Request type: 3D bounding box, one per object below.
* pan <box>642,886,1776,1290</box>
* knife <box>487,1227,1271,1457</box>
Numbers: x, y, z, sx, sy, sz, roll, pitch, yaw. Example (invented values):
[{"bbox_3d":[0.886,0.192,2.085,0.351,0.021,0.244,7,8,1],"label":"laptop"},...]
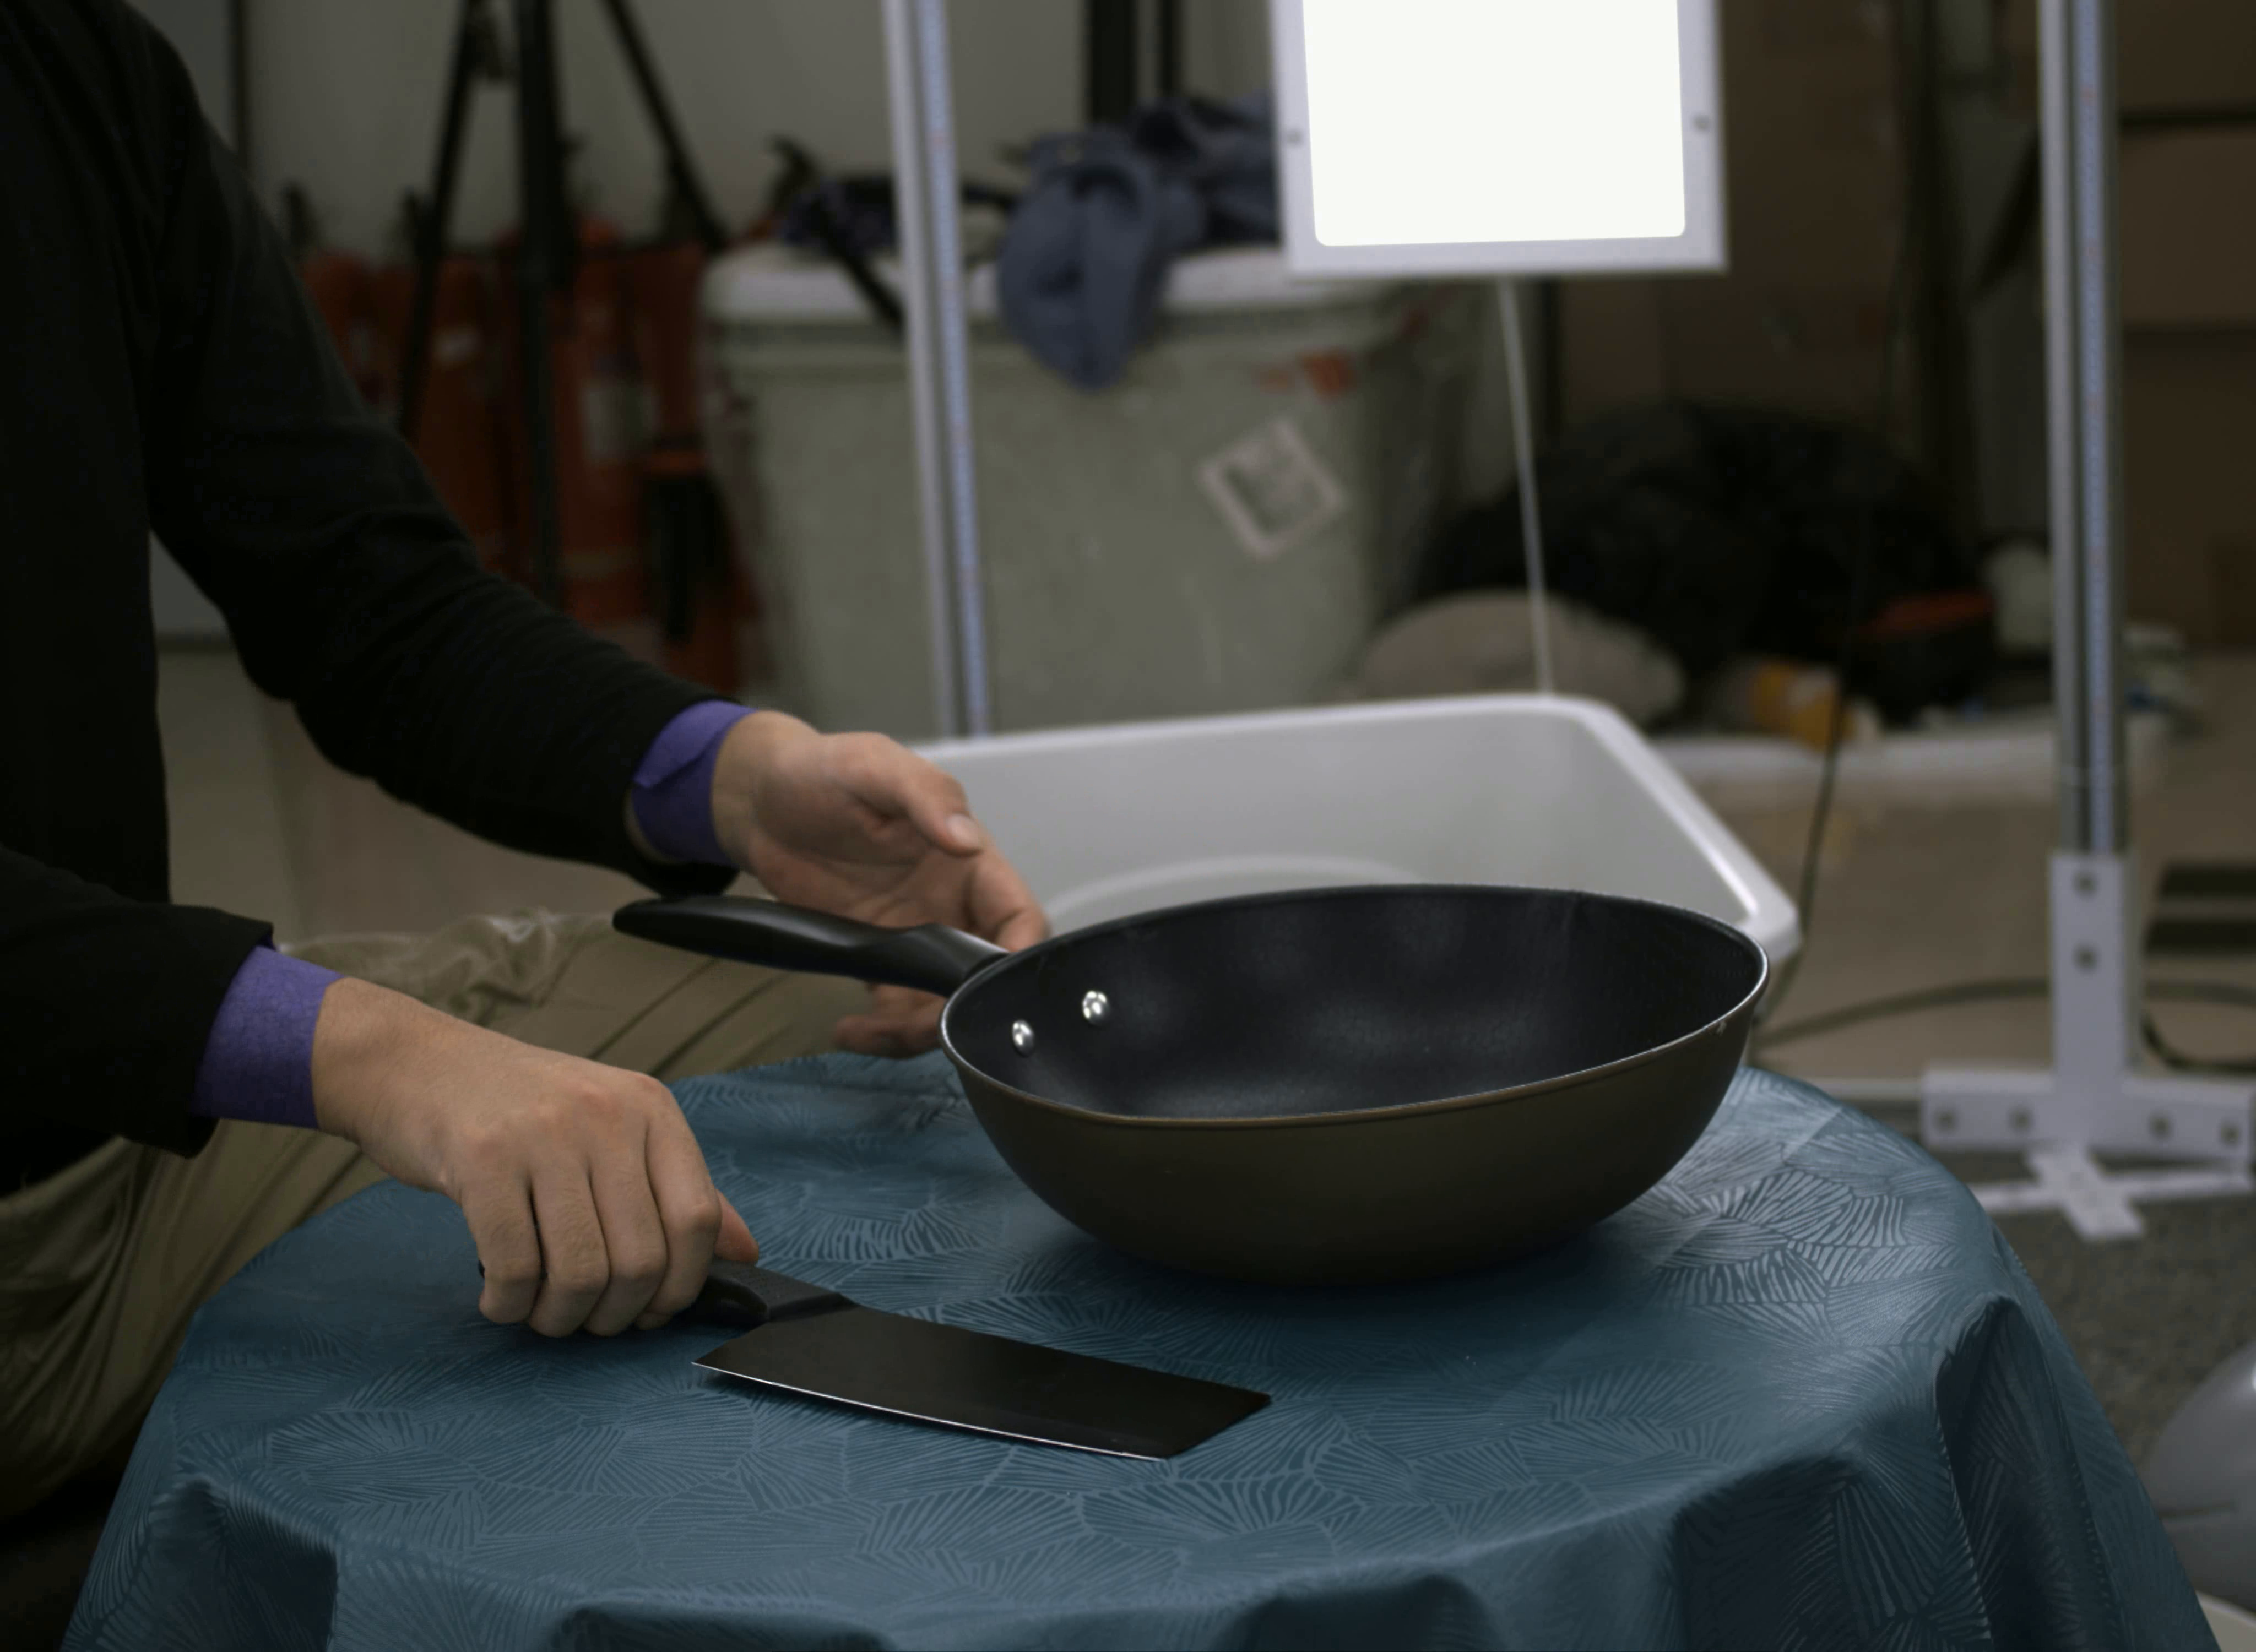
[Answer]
[{"bbox_3d":[0.006,0.085,1.895,0.473,0.087,0.281,5,17,39],"label":"pan"},{"bbox_3d":[-0.091,0.164,1.752,0.309,0.021,0.079,10,19,41],"label":"knife"}]
